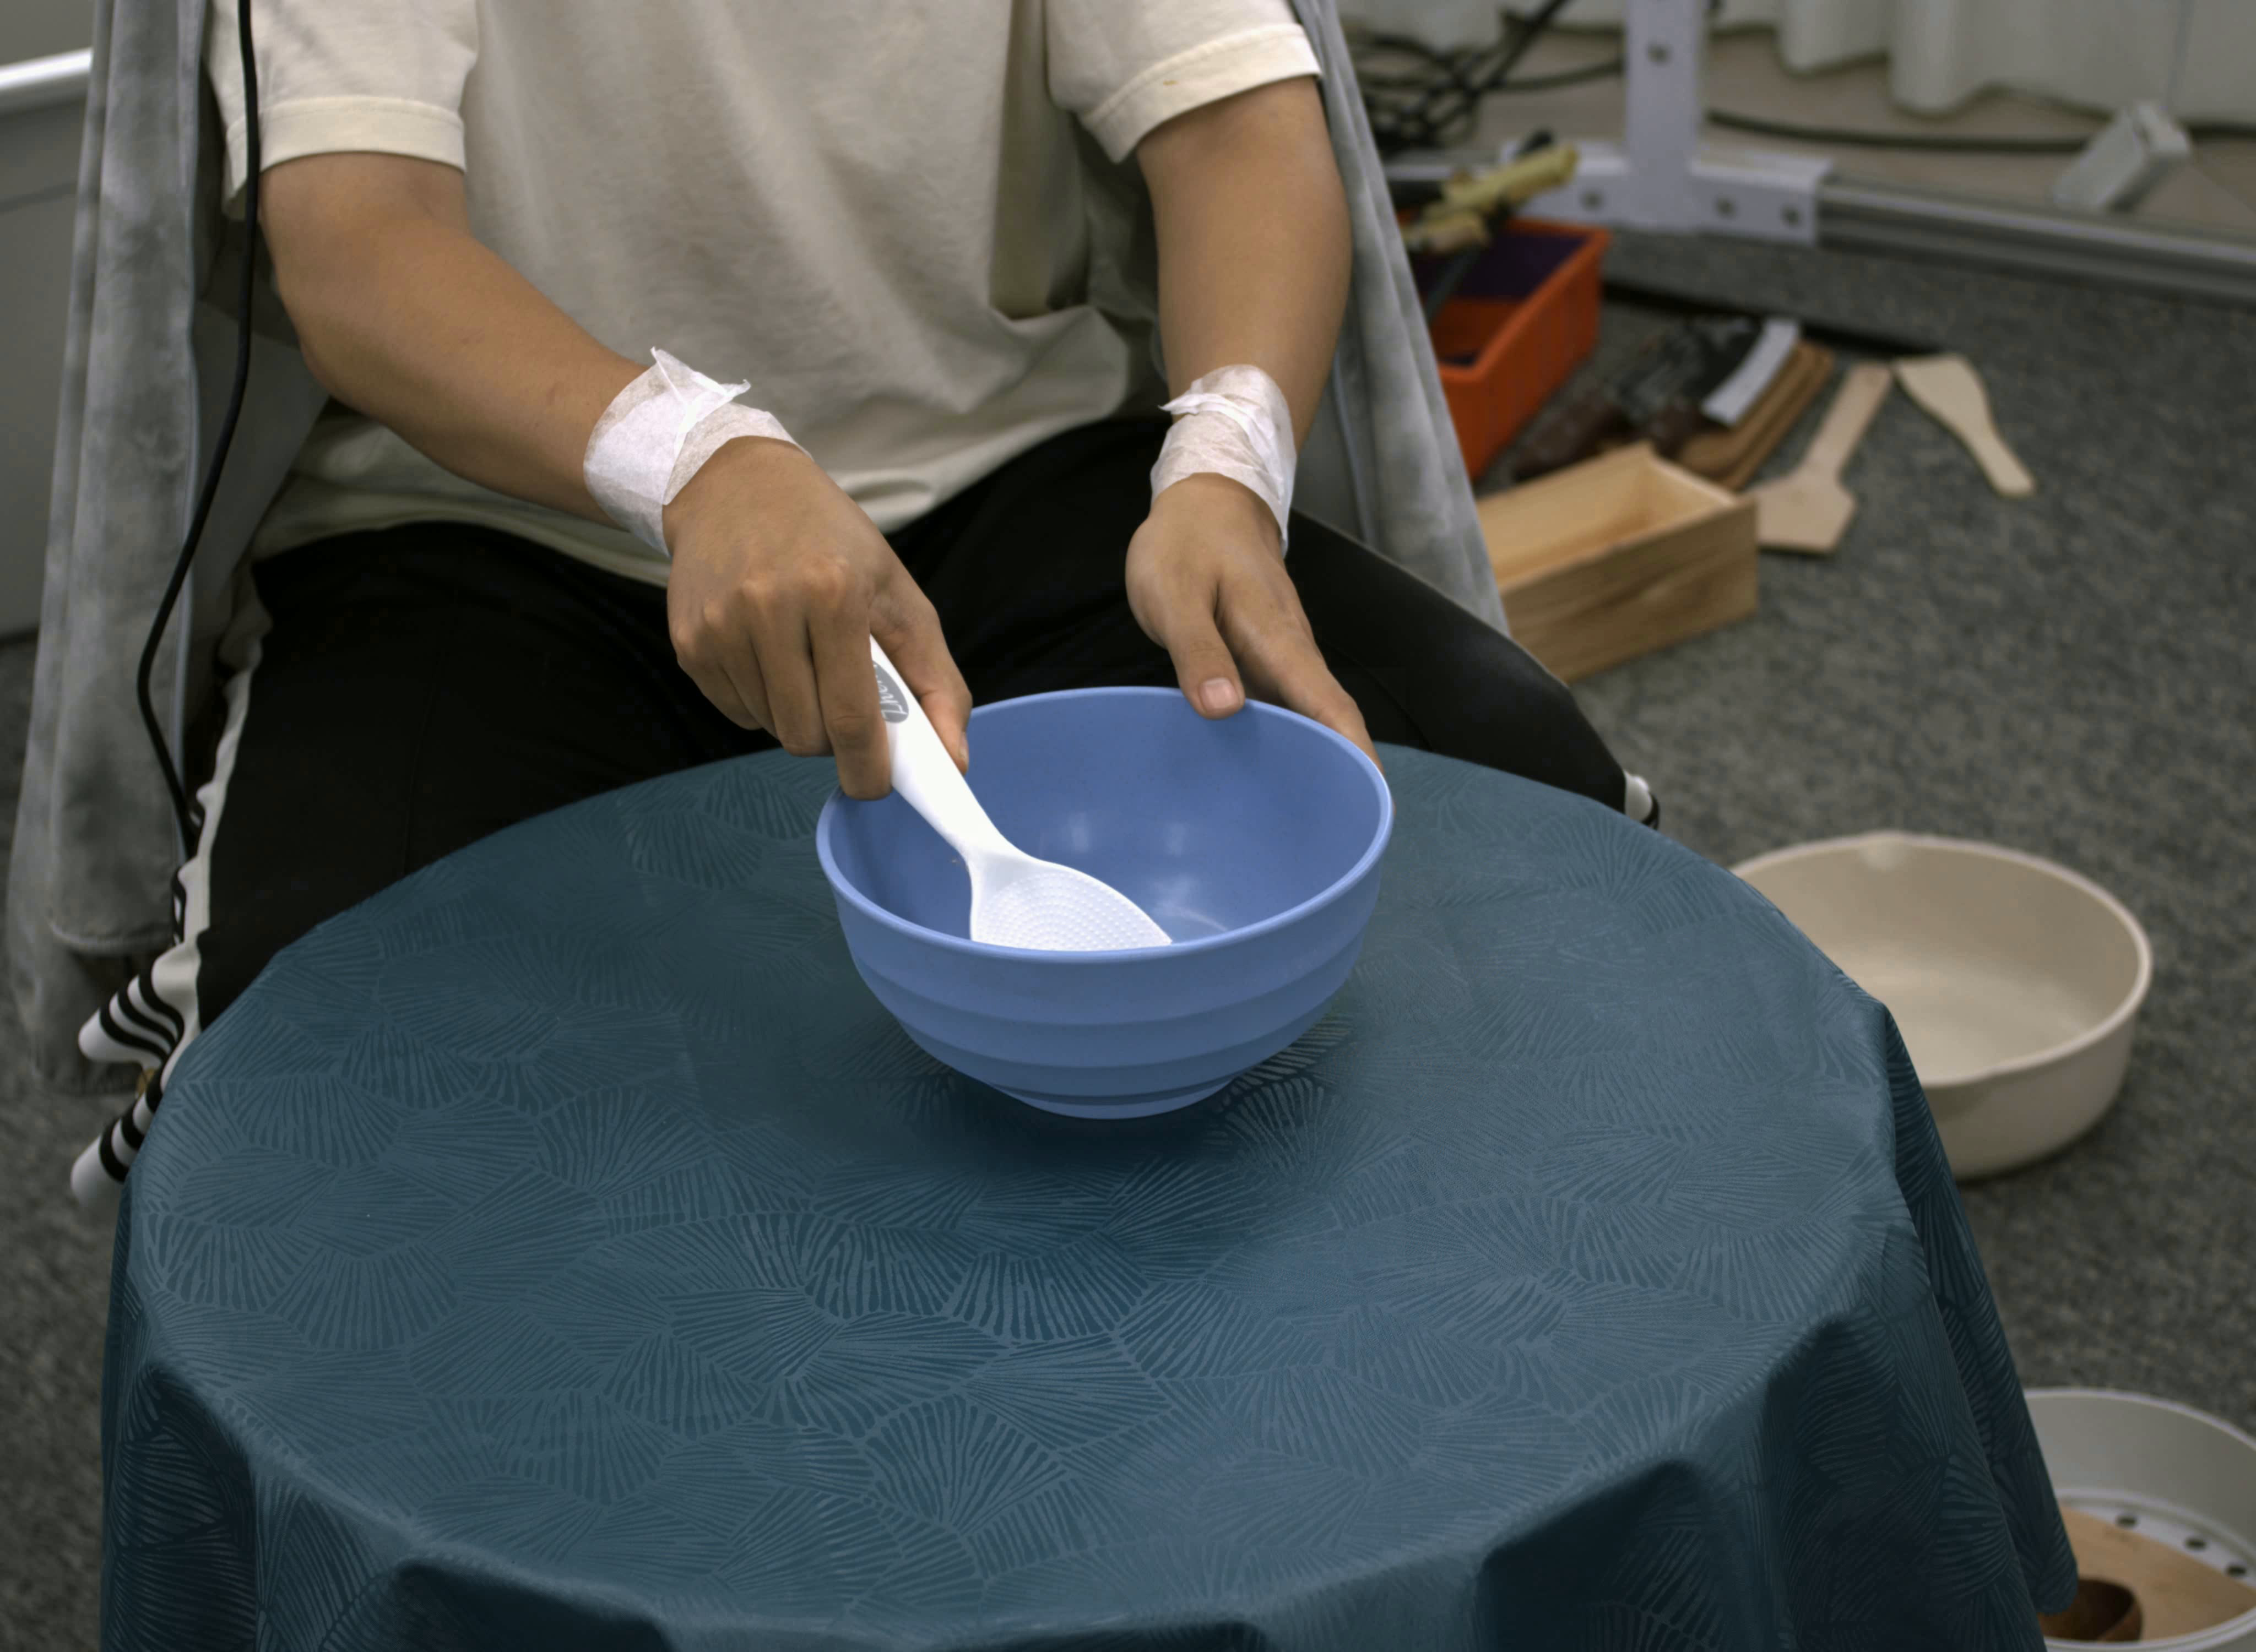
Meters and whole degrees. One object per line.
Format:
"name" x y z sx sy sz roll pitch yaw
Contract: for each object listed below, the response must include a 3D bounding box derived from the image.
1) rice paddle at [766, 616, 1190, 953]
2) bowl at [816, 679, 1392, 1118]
"rice paddle" -0.045 0.009 1.920 0.206 0.029 0.070 46 52 14
"bowl" -0.006 0.036 1.922 0.195 0.094 0.199 -3 29 2
